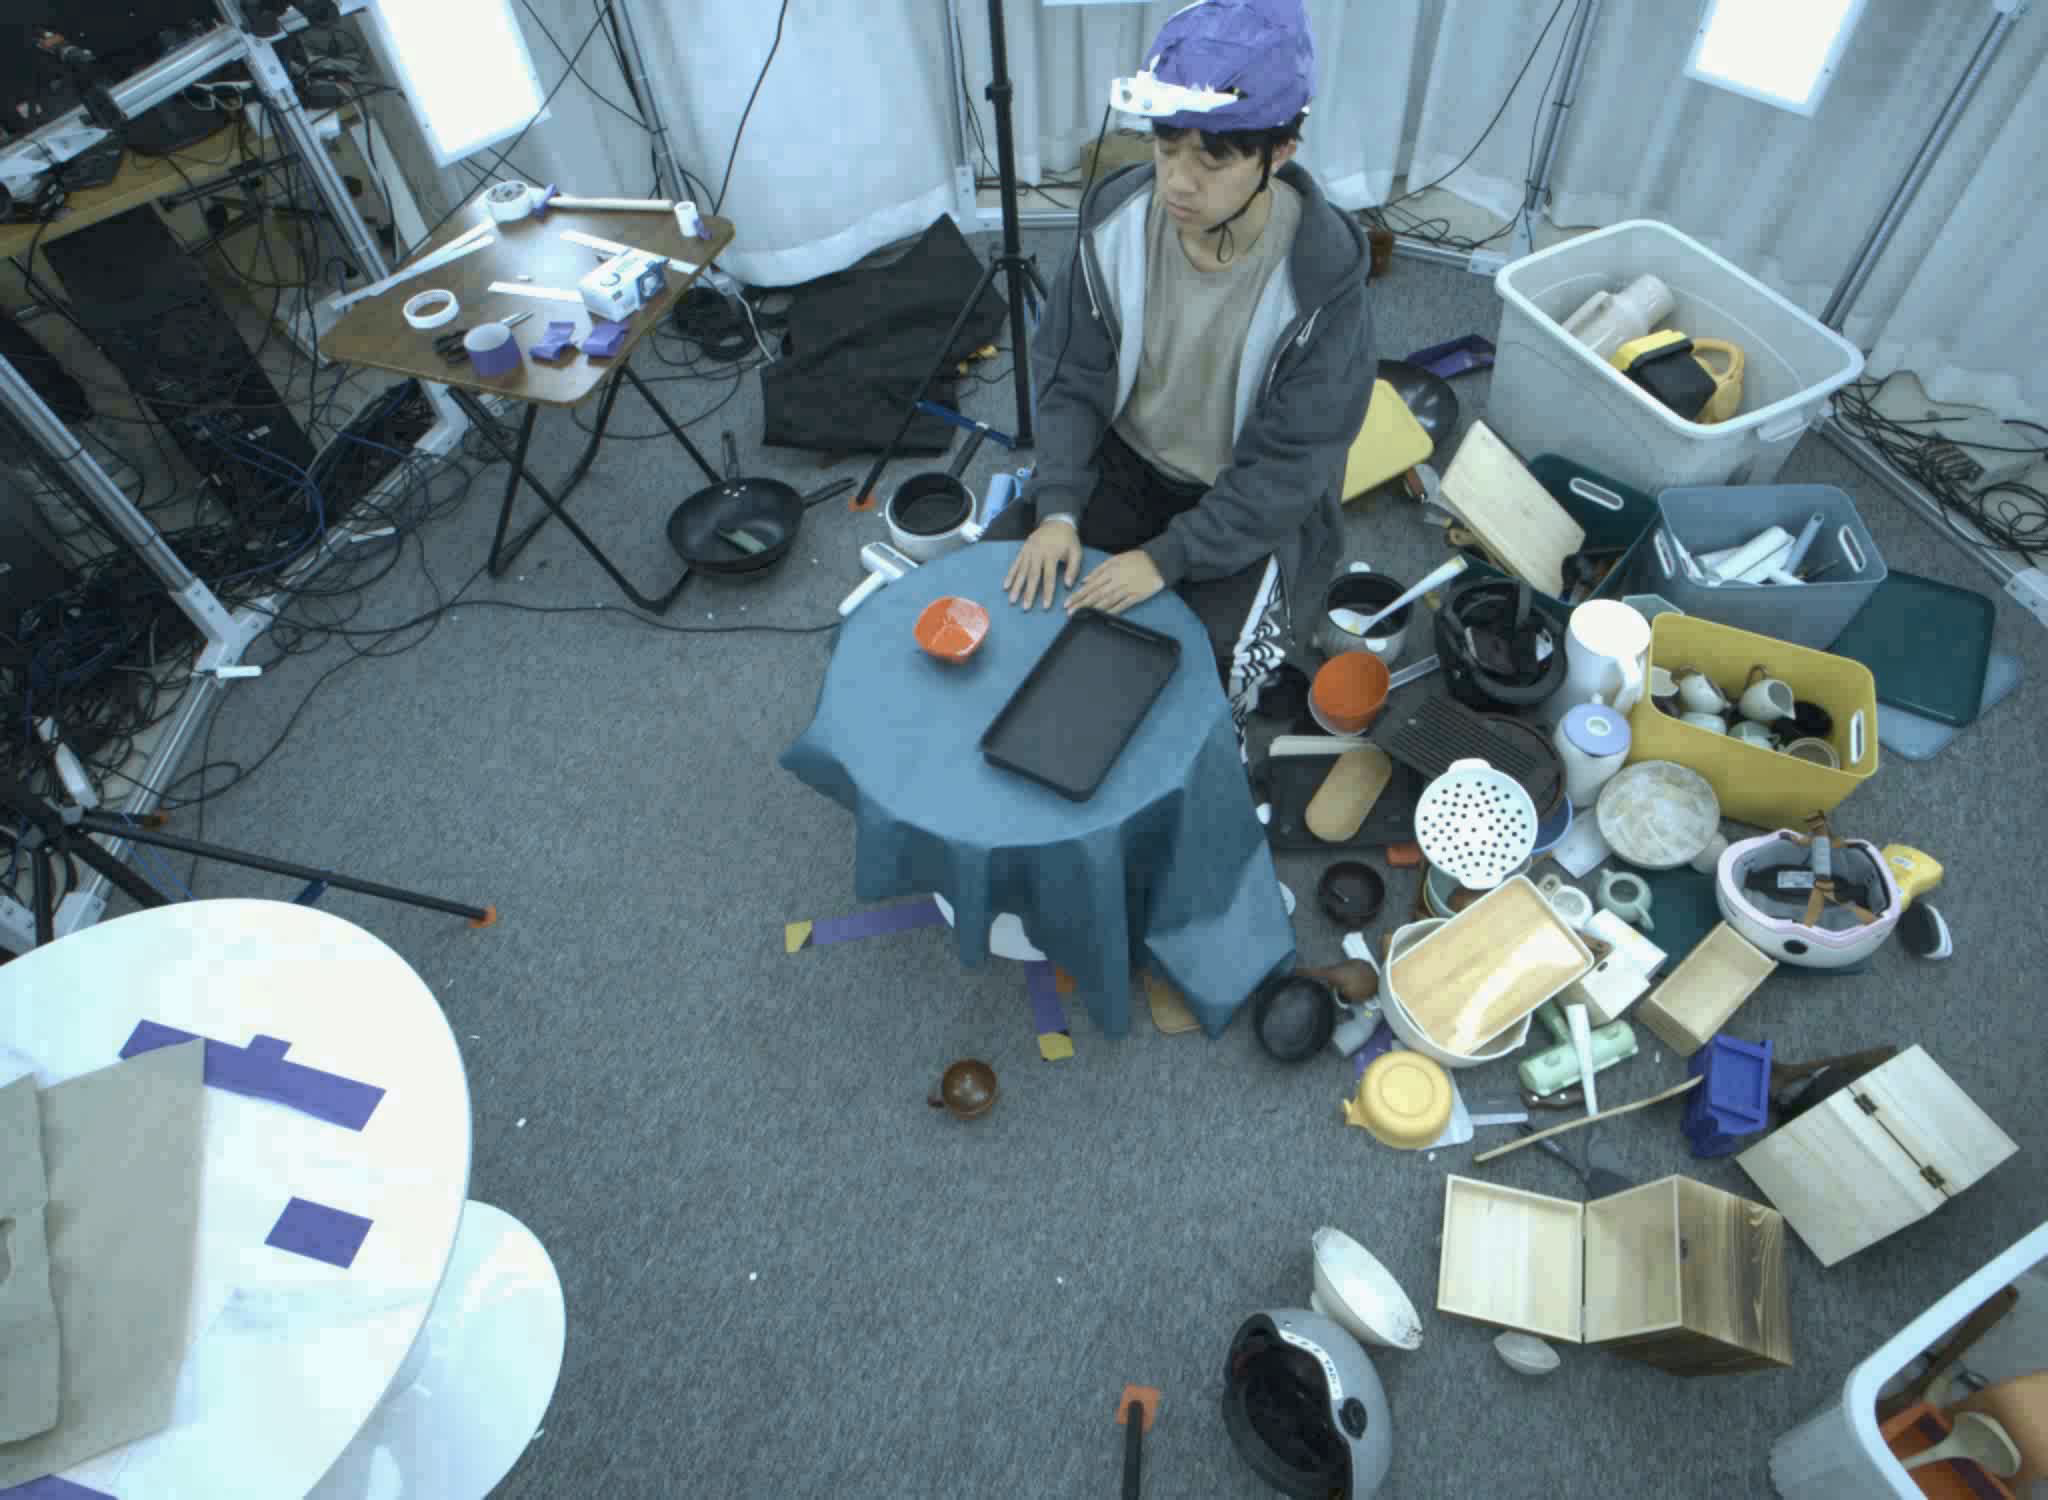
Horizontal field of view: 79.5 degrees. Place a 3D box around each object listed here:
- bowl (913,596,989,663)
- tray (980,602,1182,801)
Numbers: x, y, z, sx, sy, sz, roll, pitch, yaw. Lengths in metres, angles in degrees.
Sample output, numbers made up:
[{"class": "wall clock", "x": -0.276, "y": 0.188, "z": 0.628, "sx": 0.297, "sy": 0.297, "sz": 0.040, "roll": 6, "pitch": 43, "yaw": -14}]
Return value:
[{"class": "bowl", "x": -0.110, "y": -0.178, "z": 1.887, "sx": 0.119, "sy": 0.052, "sz": 0.118, "roll": -1, "pitch": 56, "yaw": 3}, {"class": "tray", "x": 0.088, "y": -0.077, "z": 1.817, "sx": 0.182, "sy": 0.037, "sz": 0.319, "roll": 24, "pitch": 60, "yaw": 18}]
